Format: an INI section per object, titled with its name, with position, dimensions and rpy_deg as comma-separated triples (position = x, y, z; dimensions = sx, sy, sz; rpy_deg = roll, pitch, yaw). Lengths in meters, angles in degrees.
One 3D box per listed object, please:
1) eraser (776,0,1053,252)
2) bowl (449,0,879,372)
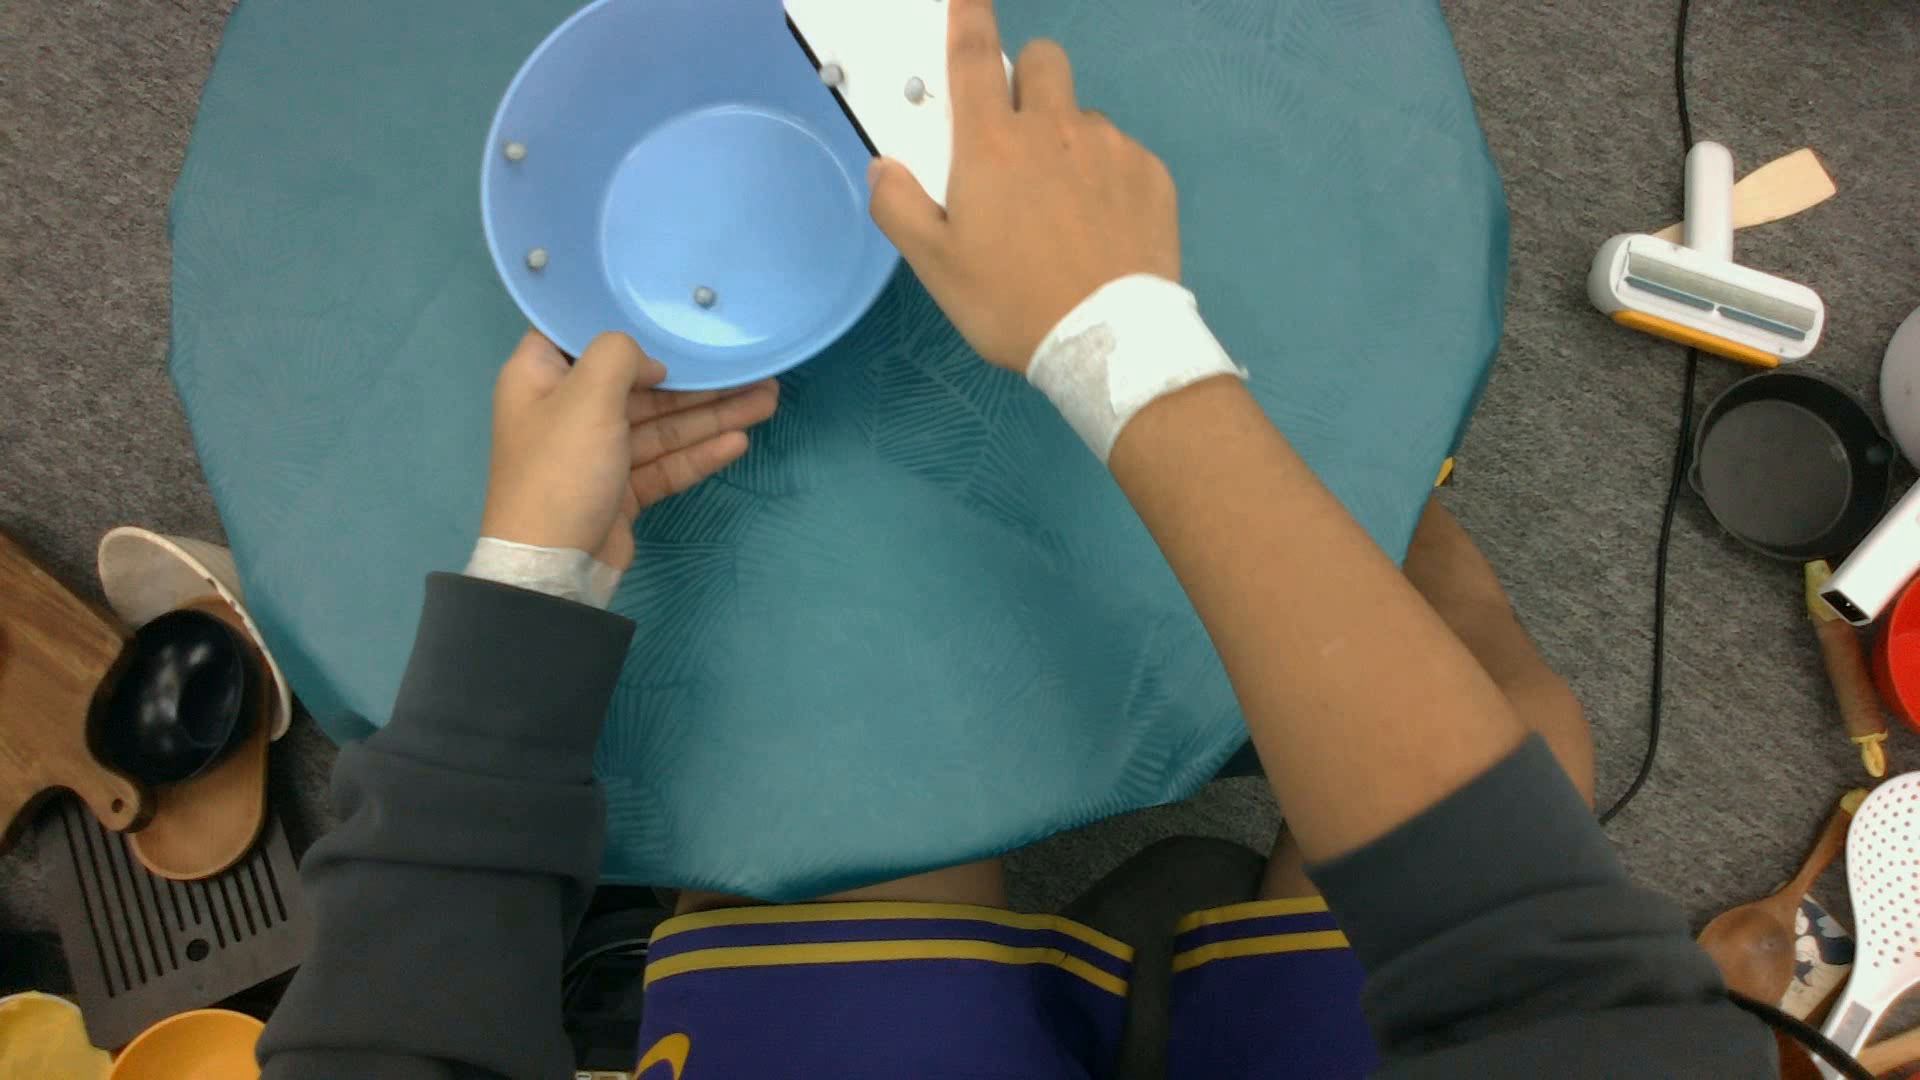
[eraser]
position = -0.021, -0.172, 0.530
dimensions = 0.063, 0.034, 0.131
rpy_deg = -24, 72, -24
[bowl]
position = -0.117, -0.147, 0.581
dimensions = 0.176, 0.070, 0.176
rpy_deg = 0, 81, 3
